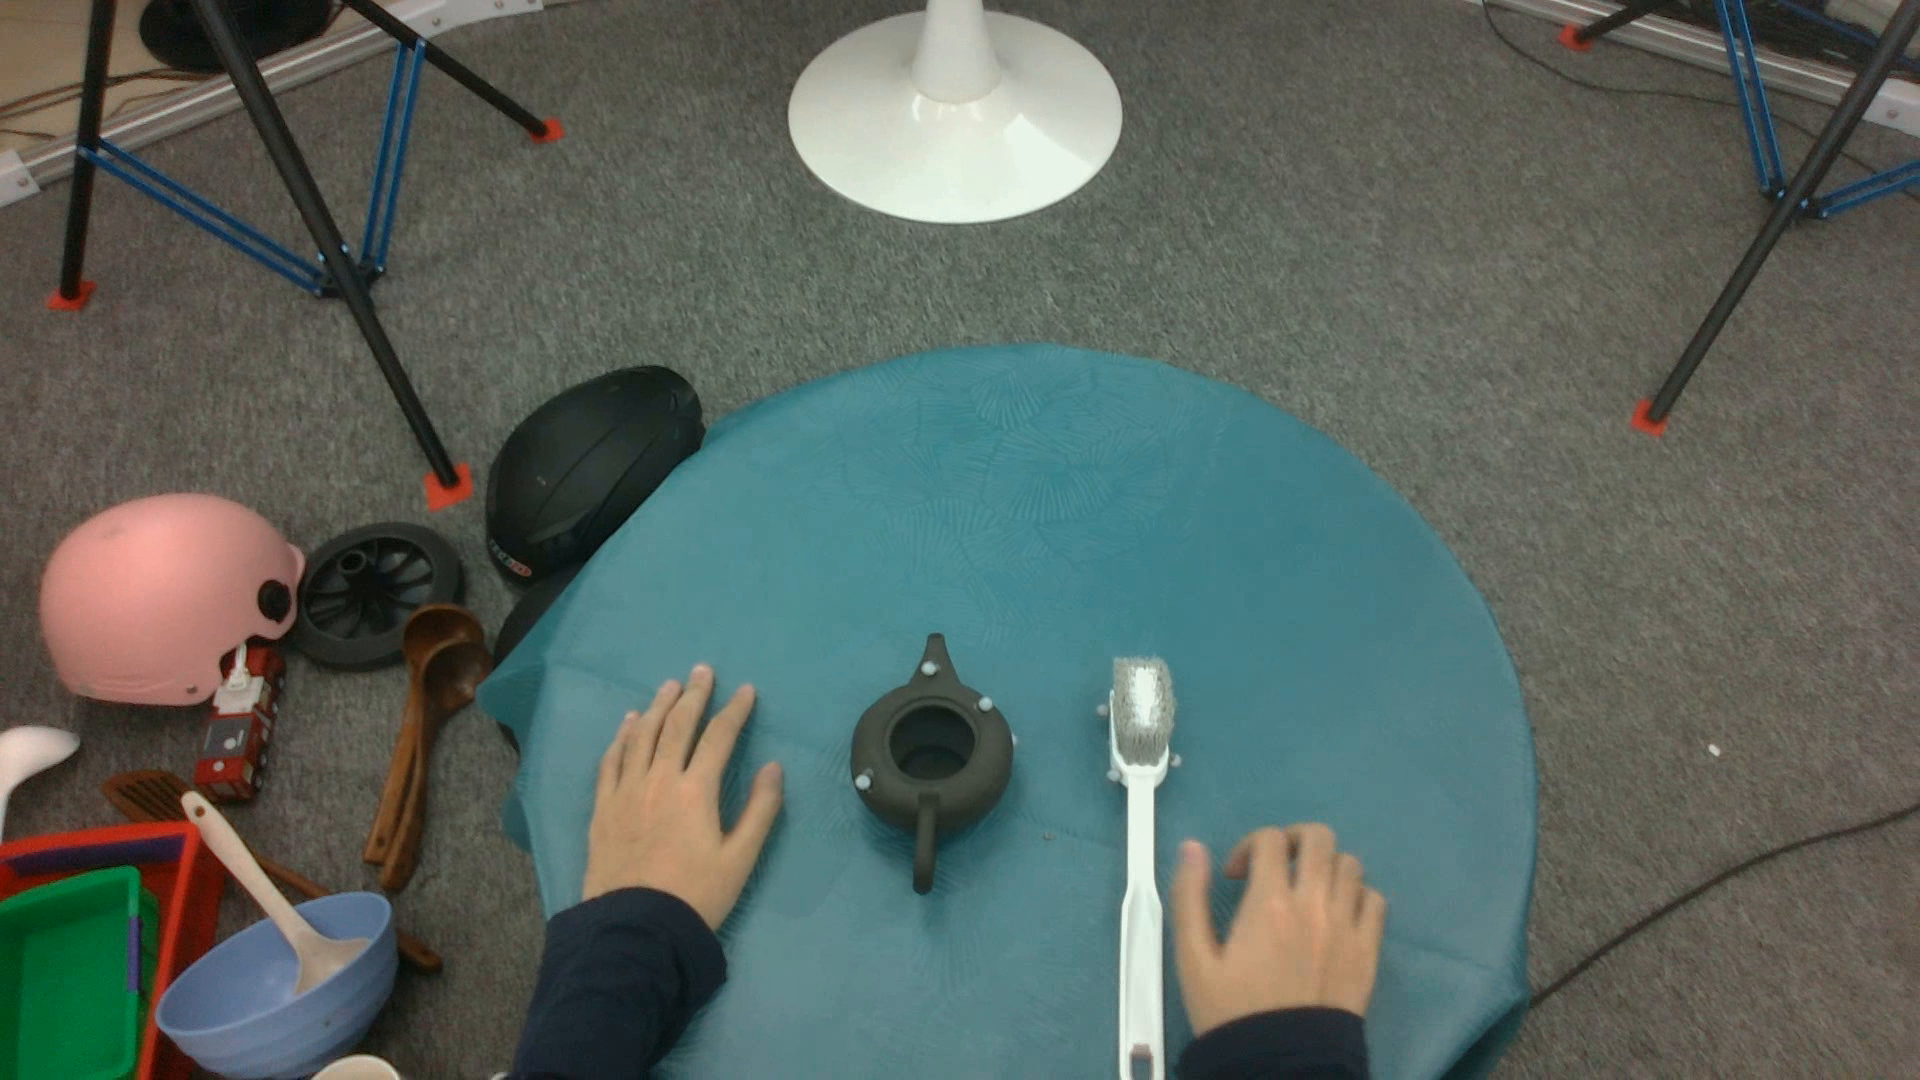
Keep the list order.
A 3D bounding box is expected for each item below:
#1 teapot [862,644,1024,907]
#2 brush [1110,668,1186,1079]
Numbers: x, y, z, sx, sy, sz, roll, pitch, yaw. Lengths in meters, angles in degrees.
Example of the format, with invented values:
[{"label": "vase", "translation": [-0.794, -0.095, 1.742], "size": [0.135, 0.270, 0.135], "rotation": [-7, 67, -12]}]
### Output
[{"label": "teapot", "translation": [-0.010, 0.135, 0.788], "size": [0.092, 0.064, 0.155], "rotation": [3, 55, 2]}, {"label": "brush", "translation": [0.103, 0.180, 0.763], "size": [0.034, 0.050, 0.245], "rotation": [8, 54, 1]}]
